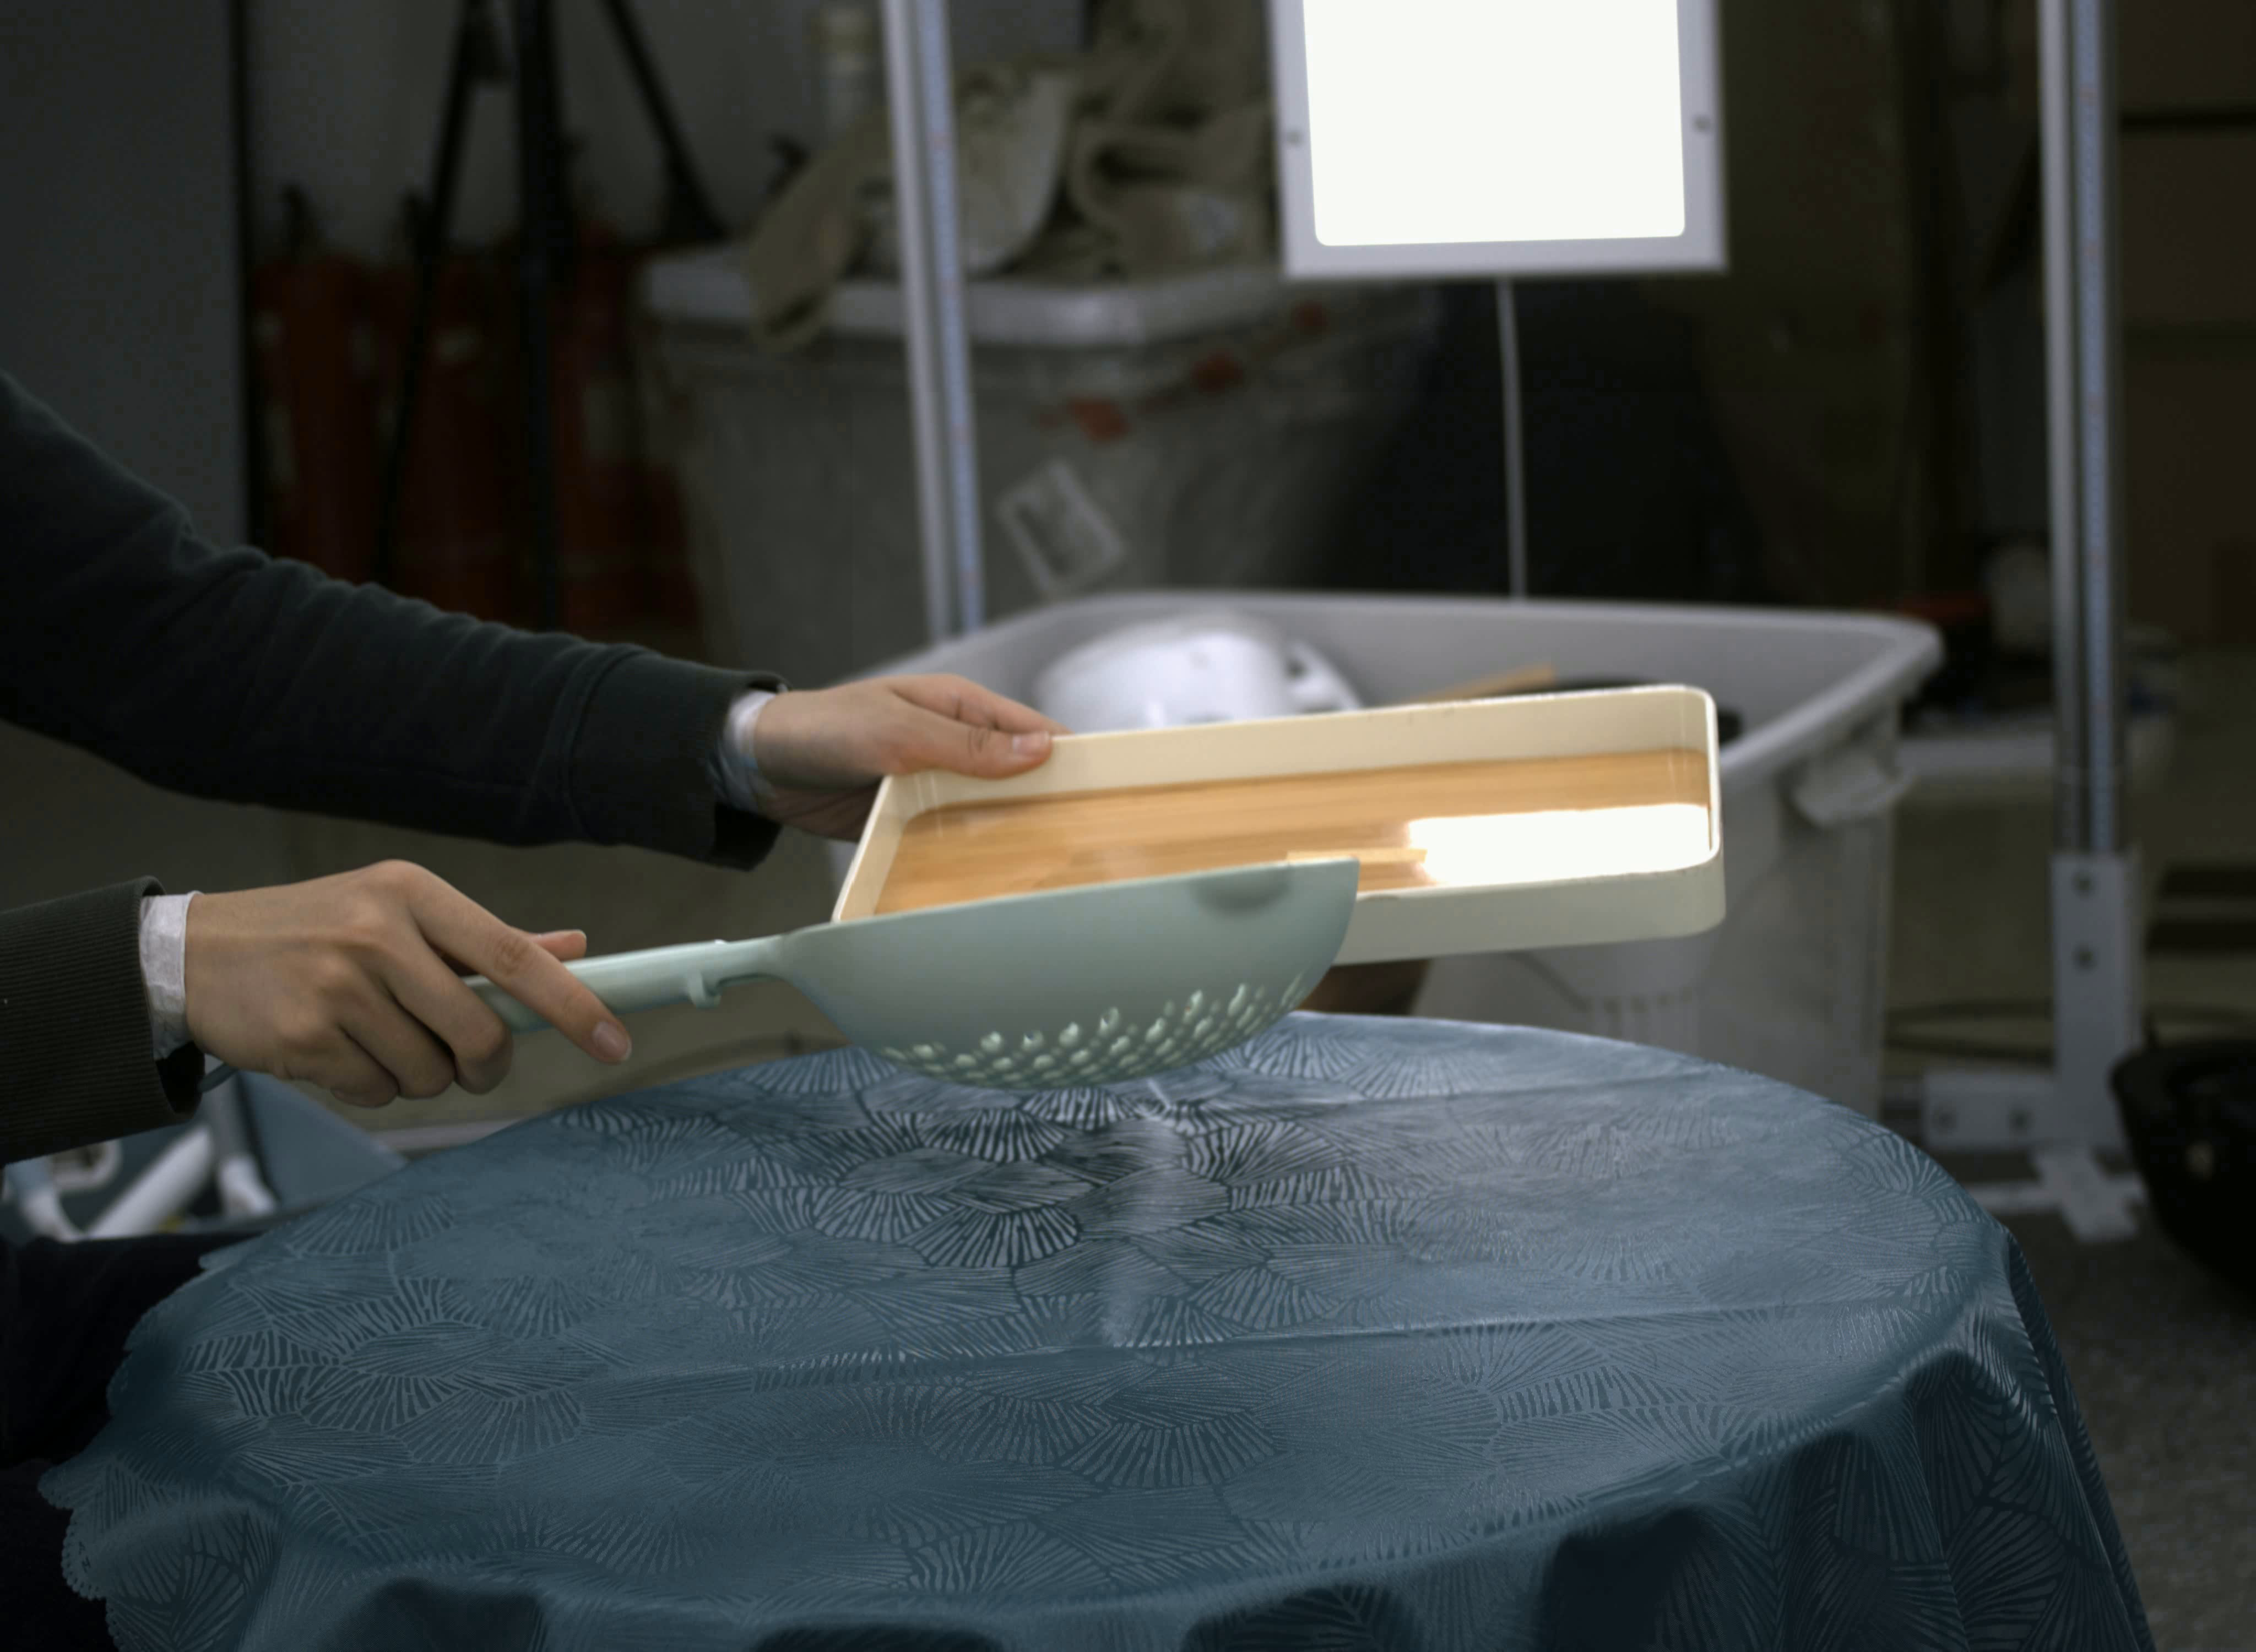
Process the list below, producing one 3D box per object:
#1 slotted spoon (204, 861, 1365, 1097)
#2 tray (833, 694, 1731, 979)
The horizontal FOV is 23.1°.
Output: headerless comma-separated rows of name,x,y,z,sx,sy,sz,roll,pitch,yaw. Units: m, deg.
slotted spoon,-0.107,0.046,1.650,0.362,0.075,0.167,0,0,13
tray,0.057,0.006,1.896,0.302,0.027,0.190,-4,19,9
